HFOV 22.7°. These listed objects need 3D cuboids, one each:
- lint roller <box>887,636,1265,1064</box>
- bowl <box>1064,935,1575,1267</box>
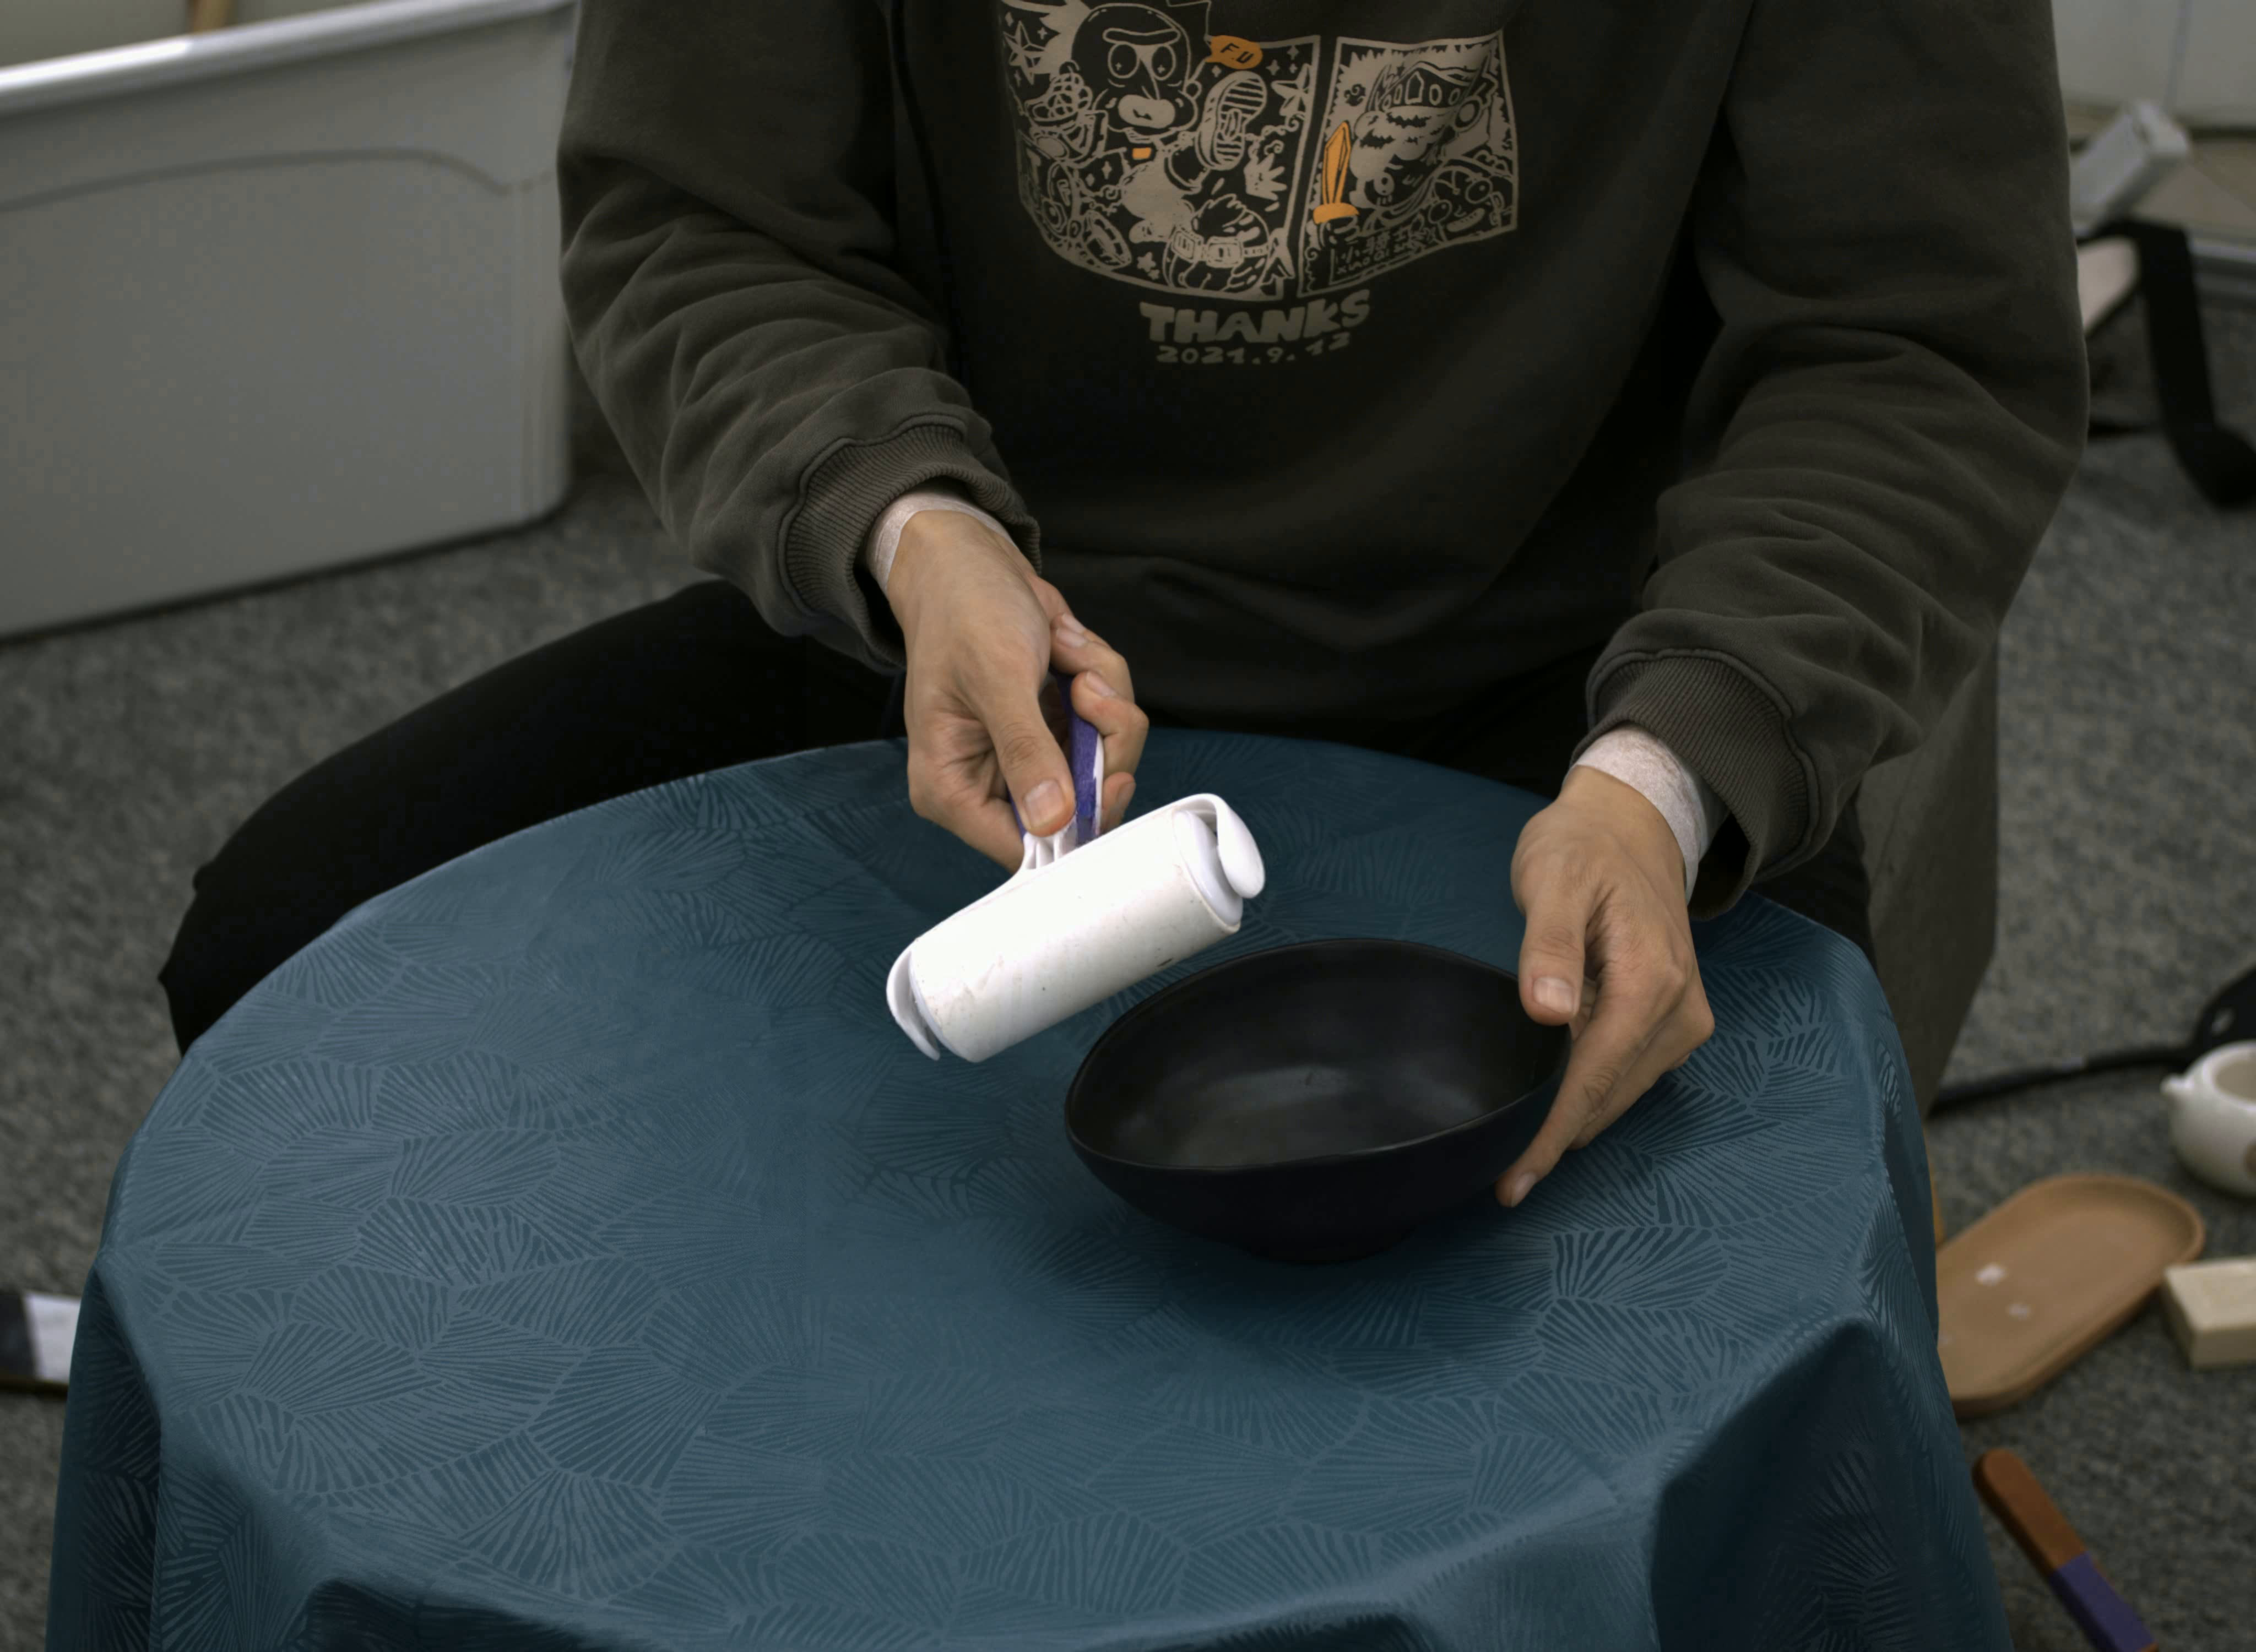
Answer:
[{"bbox_3d":[-0.025,-0.011,1.878,0.131,0.050,0.184,-26,44,15],"label":"lint roller"},{"bbox_3d":[0.064,0.100,1.829,0.170,0.066,0.138,-13,28,-15],"label":"bowl"}]
